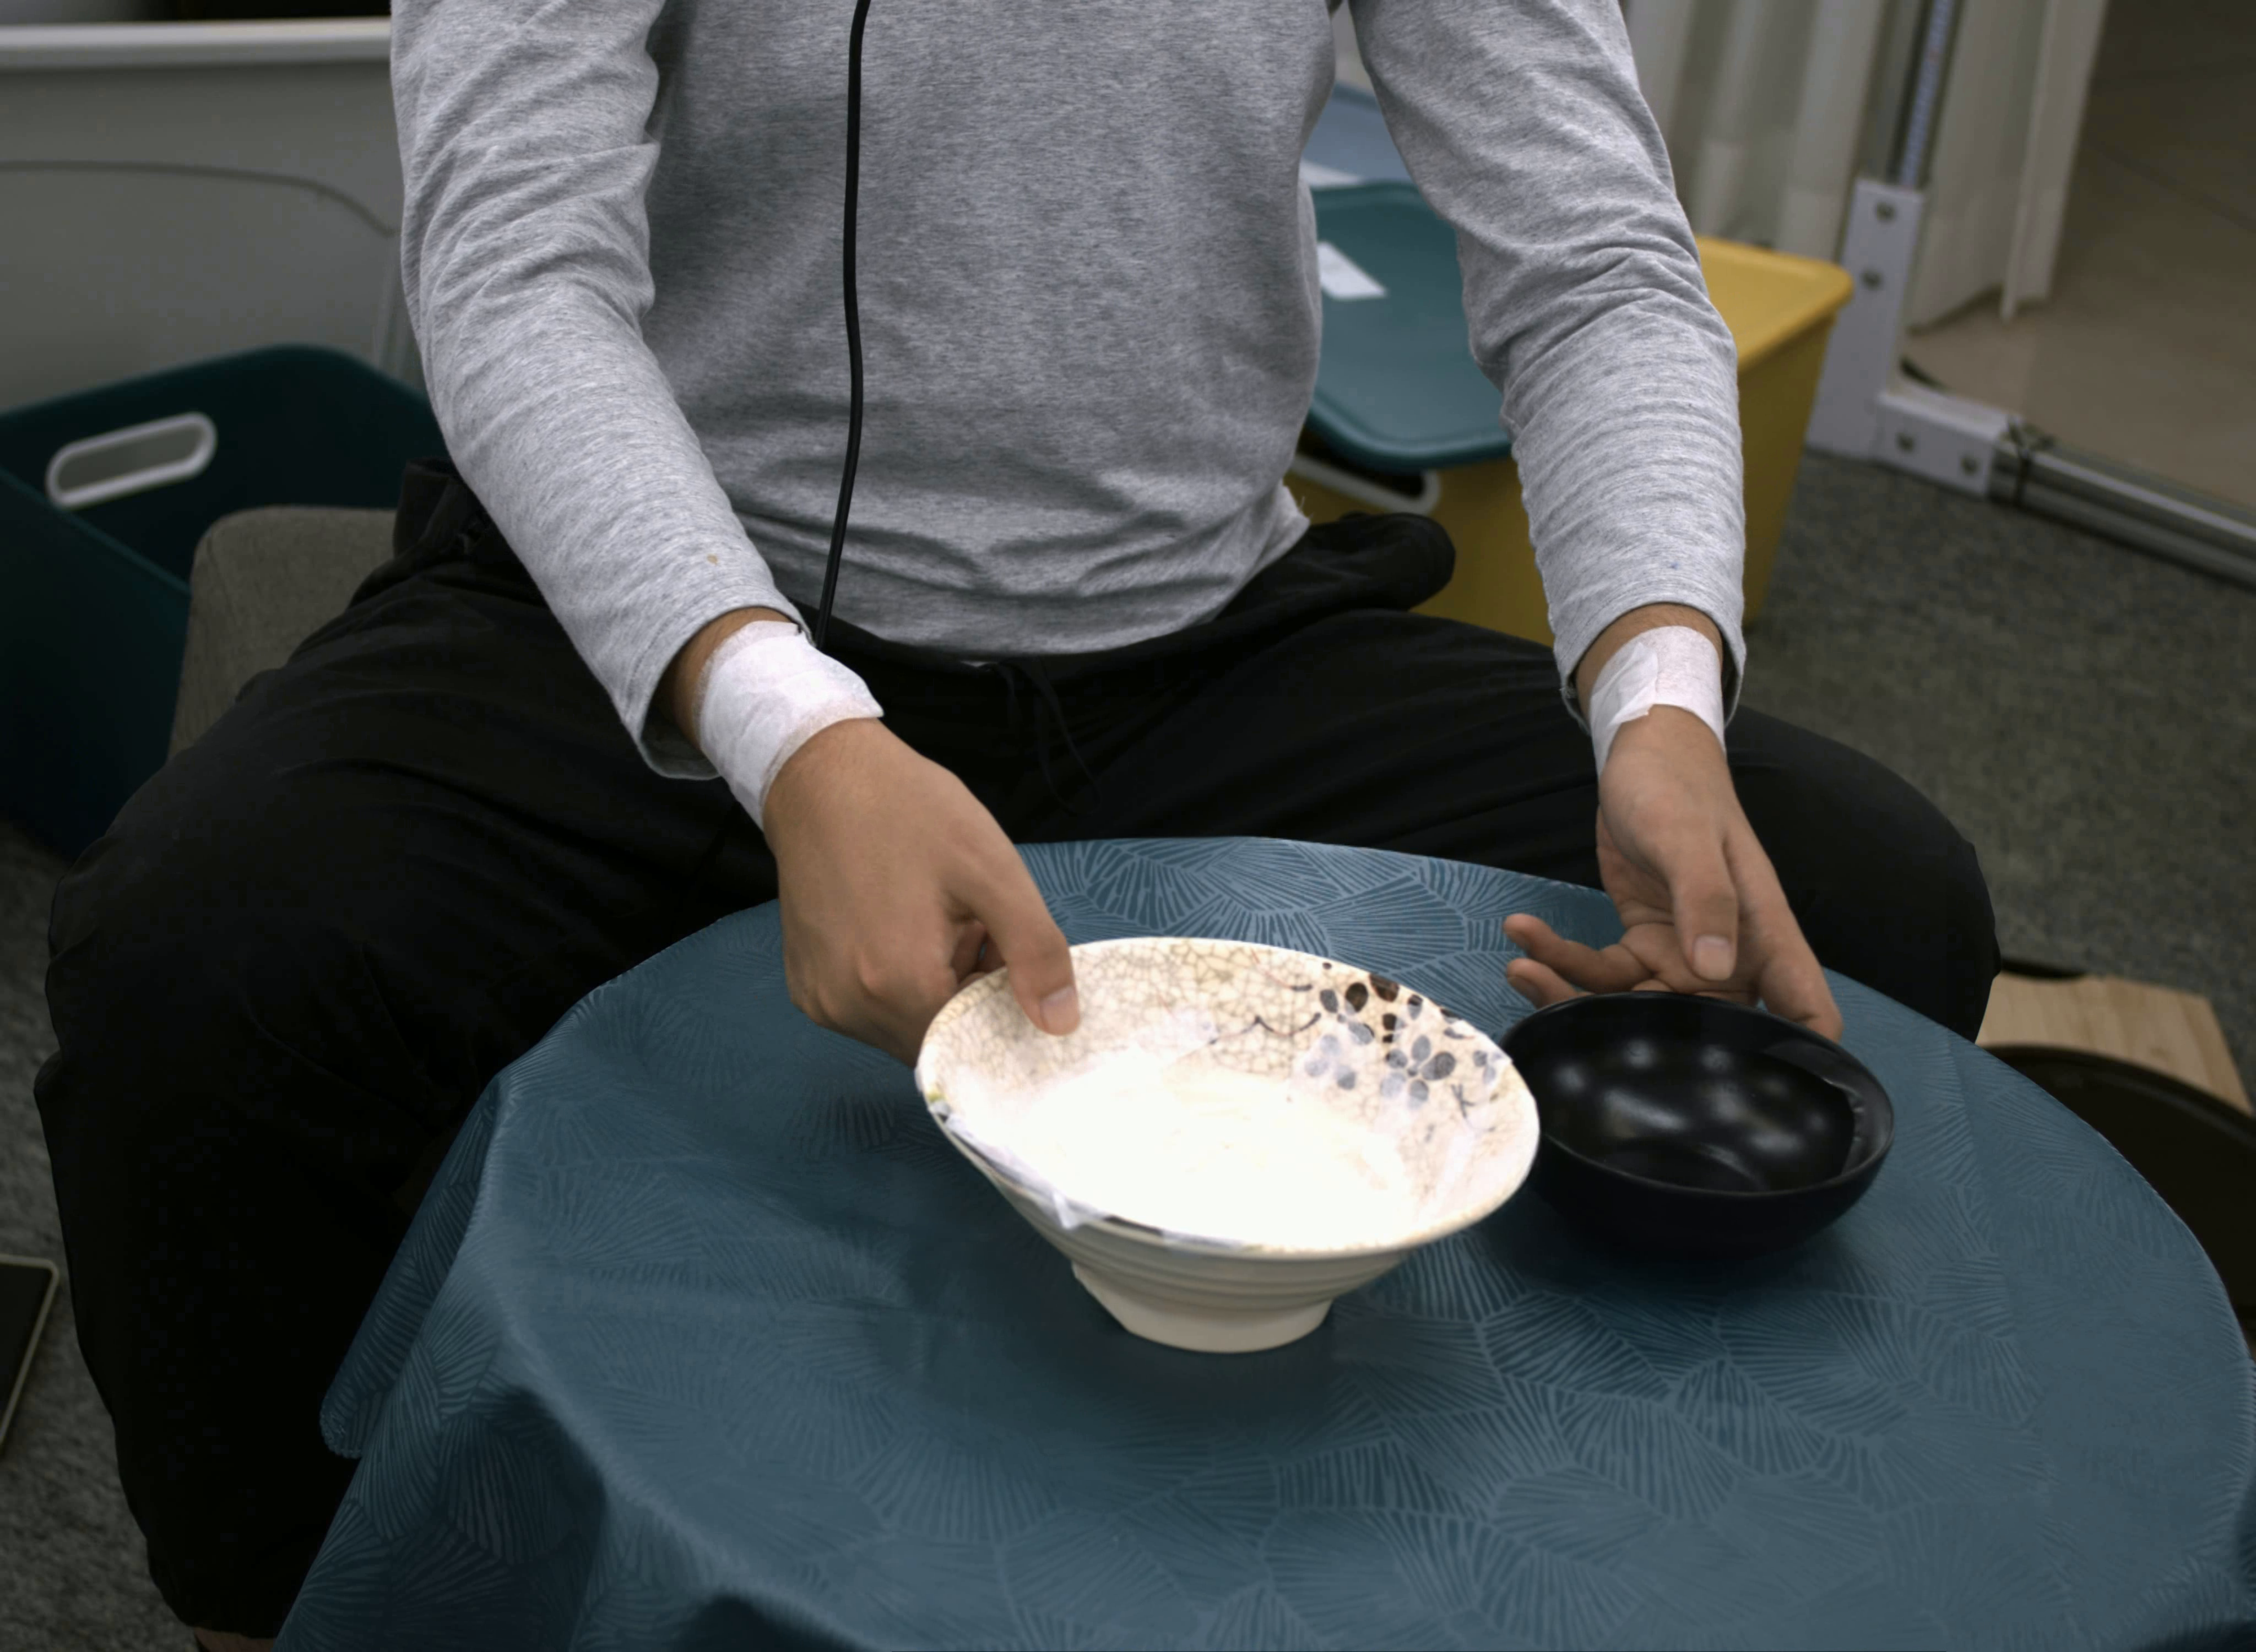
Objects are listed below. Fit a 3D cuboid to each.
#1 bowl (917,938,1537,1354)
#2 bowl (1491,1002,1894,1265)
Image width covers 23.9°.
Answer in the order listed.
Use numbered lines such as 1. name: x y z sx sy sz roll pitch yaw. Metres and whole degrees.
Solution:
1. bowl: 0.028 0.117 1.739 0.203 0.078 0.205 6 25 -3
2. bowl: 0.190 0.112 1.821 0.139 0.049 0.141 6 23 -3
